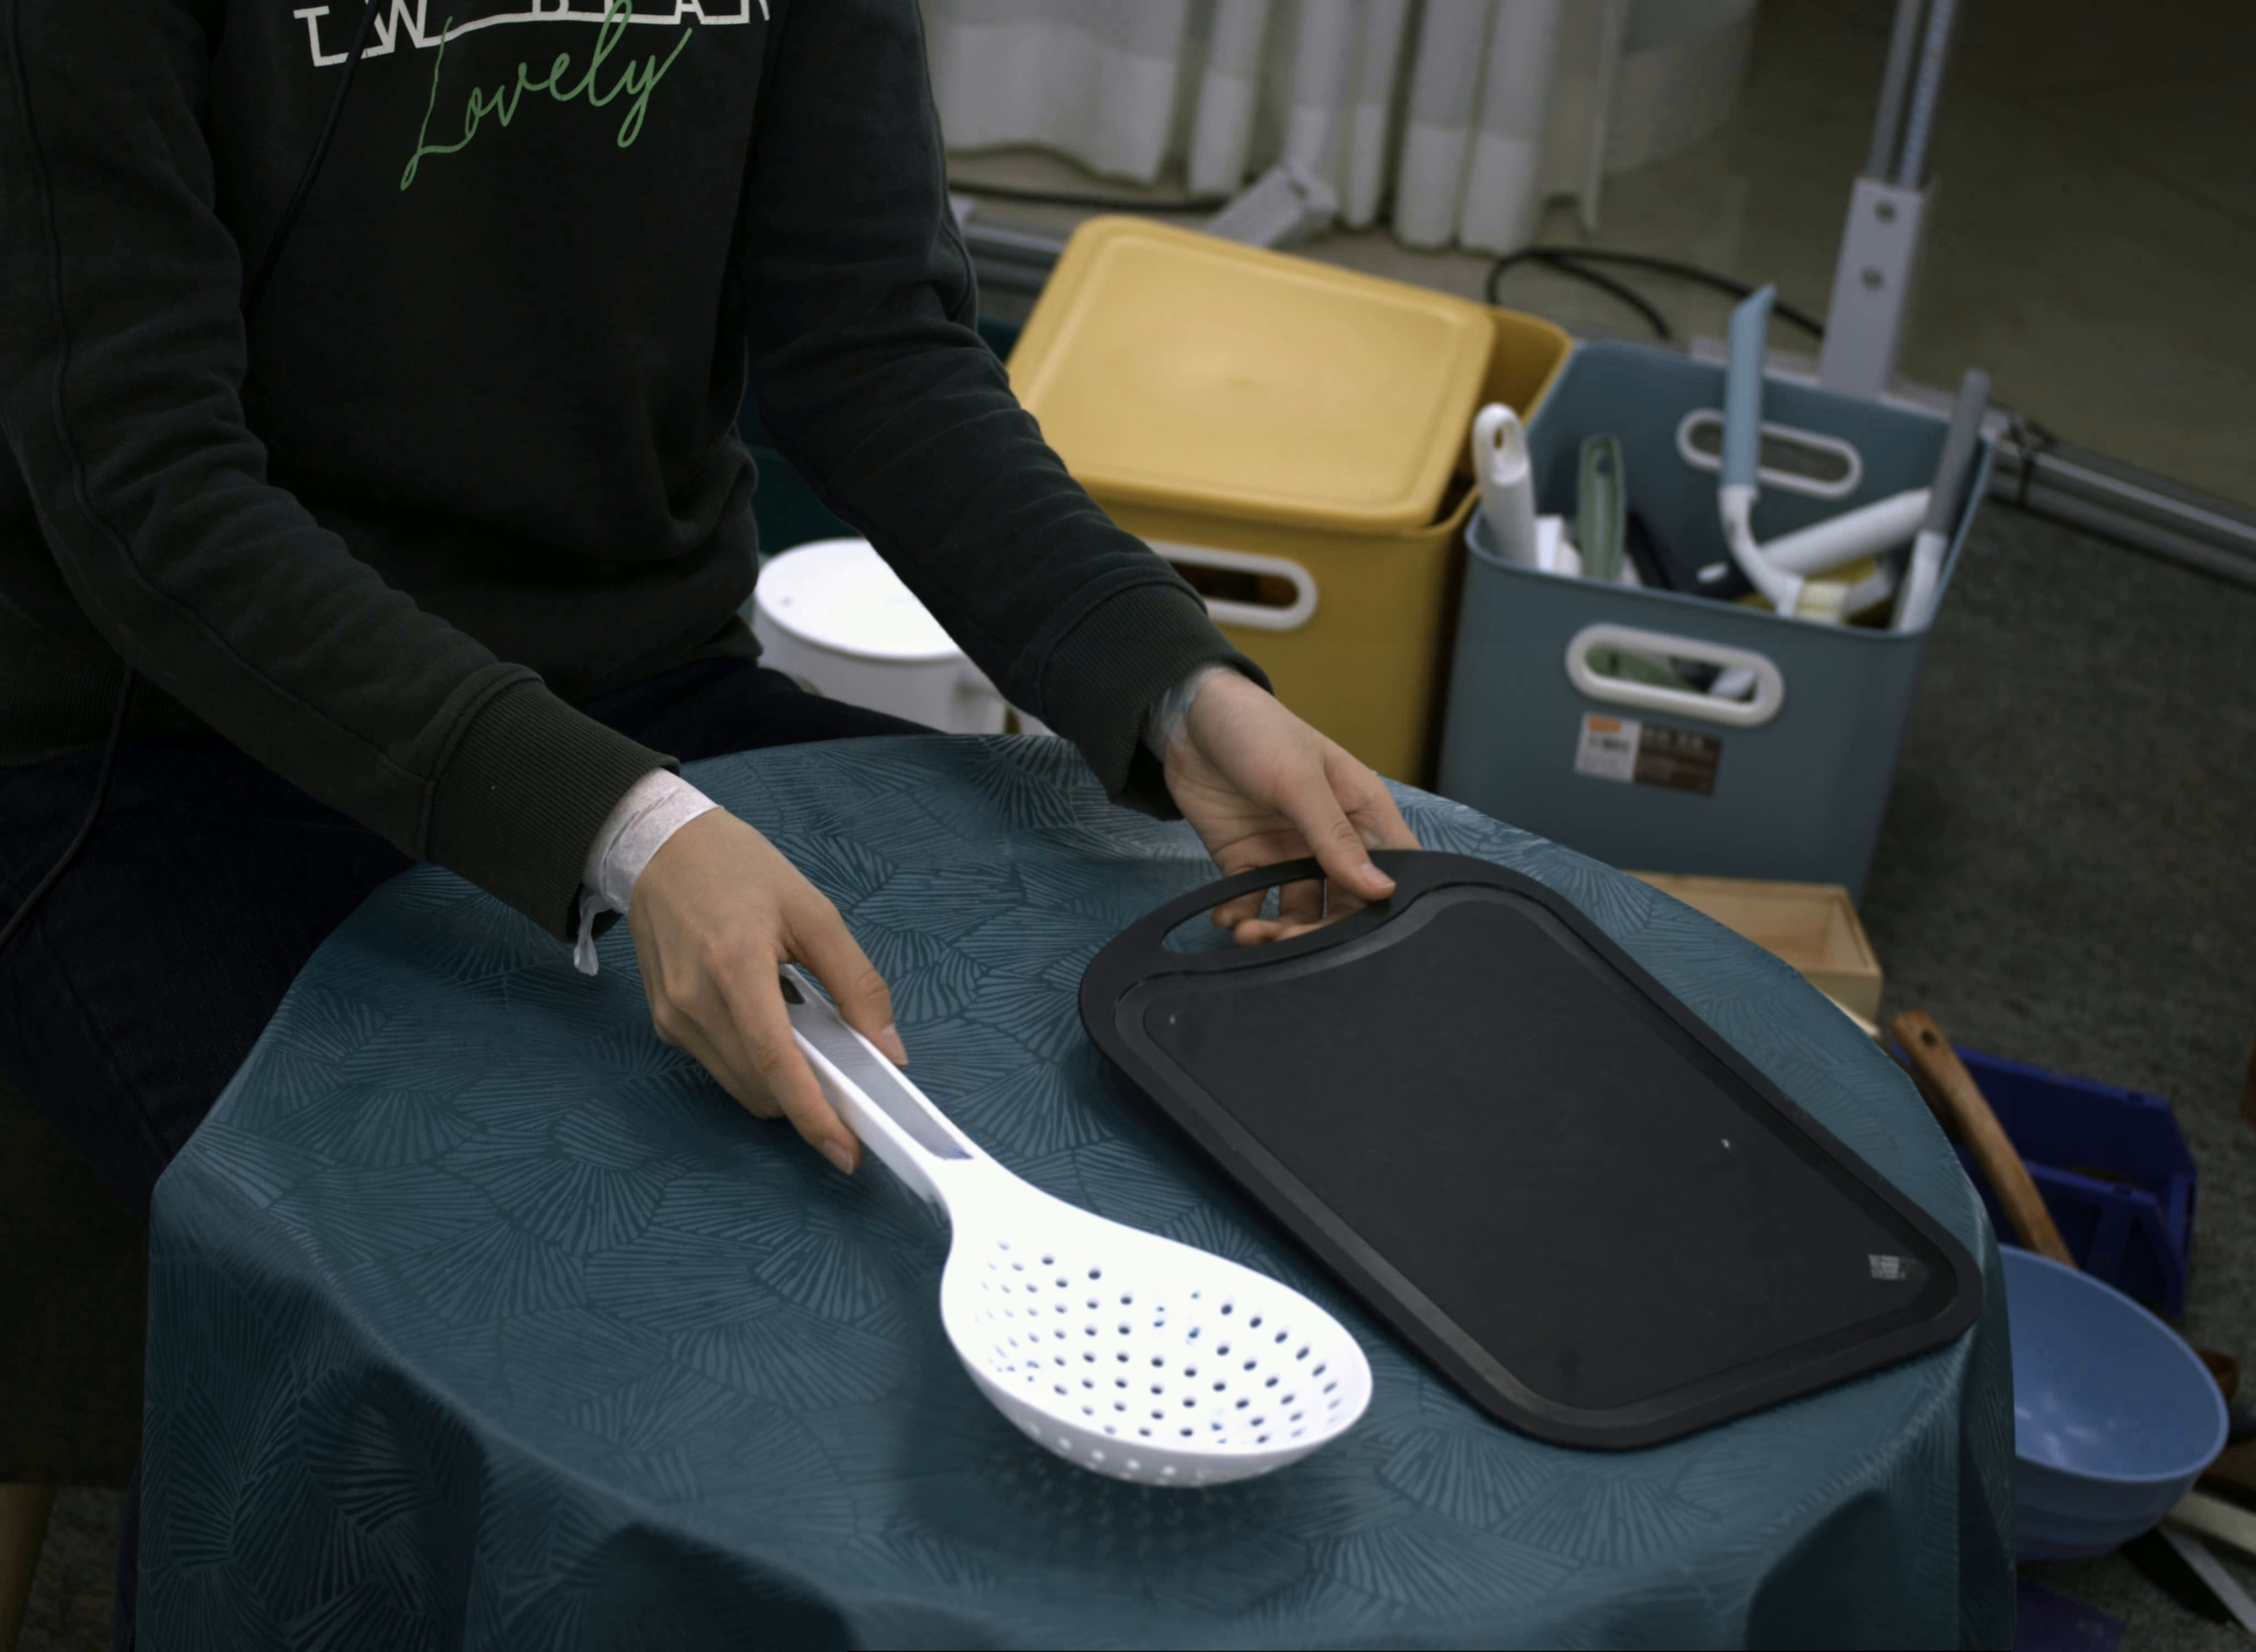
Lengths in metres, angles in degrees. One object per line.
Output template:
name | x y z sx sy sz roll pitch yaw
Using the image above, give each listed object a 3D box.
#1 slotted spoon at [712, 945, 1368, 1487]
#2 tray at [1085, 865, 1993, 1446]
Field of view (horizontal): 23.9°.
slotted spoon | -0.048 0.121 1.727 0.135 0.045 0.353 -2 30 -33
tray | 0.132 0.102 1.832 0.210 0.010 0.328 -14 38 -32
